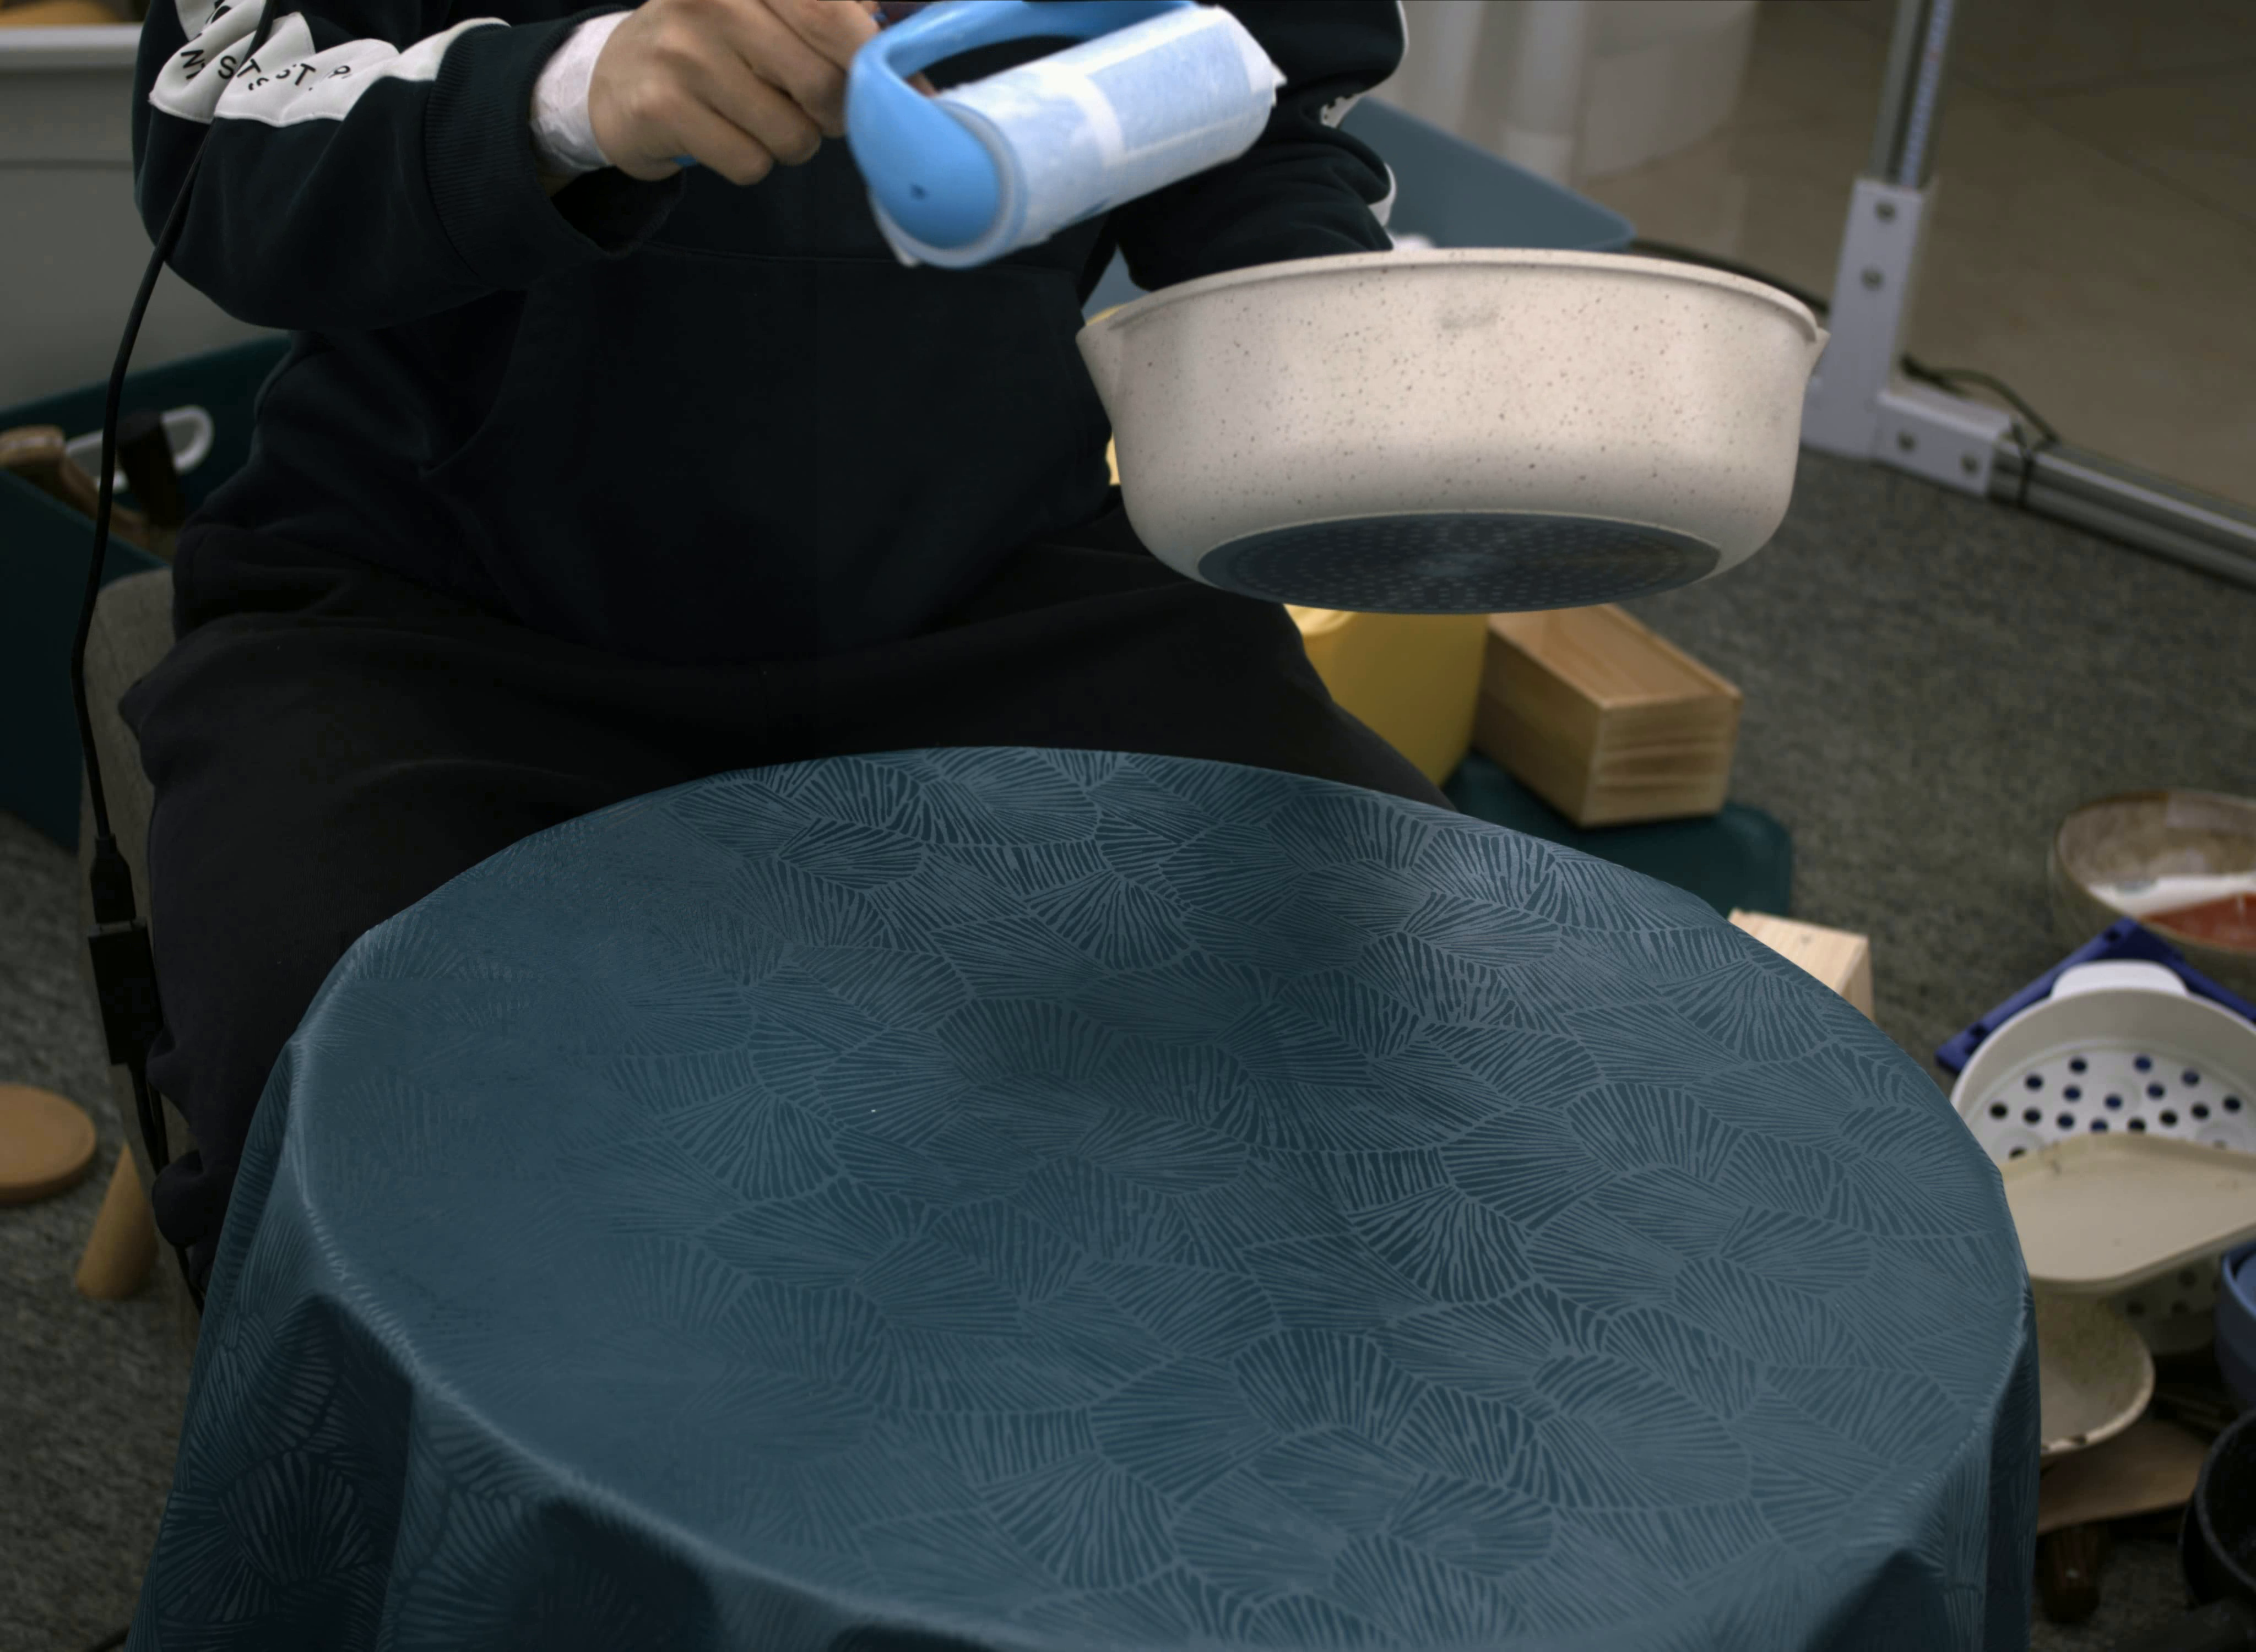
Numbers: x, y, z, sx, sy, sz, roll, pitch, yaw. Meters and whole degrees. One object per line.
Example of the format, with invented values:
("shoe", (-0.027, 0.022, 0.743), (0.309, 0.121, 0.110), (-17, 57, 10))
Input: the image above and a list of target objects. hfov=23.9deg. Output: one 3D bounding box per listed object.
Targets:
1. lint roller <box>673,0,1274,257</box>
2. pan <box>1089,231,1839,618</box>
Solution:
("lint roller", (-0.070, -0.235, 1.742), (0.181, 0.068, 0.228), (8, 20, 23))
("pan", (0.116, -0.125, 1.940), (0.262, 0.102, 0.434), (-1, -9, -1))
